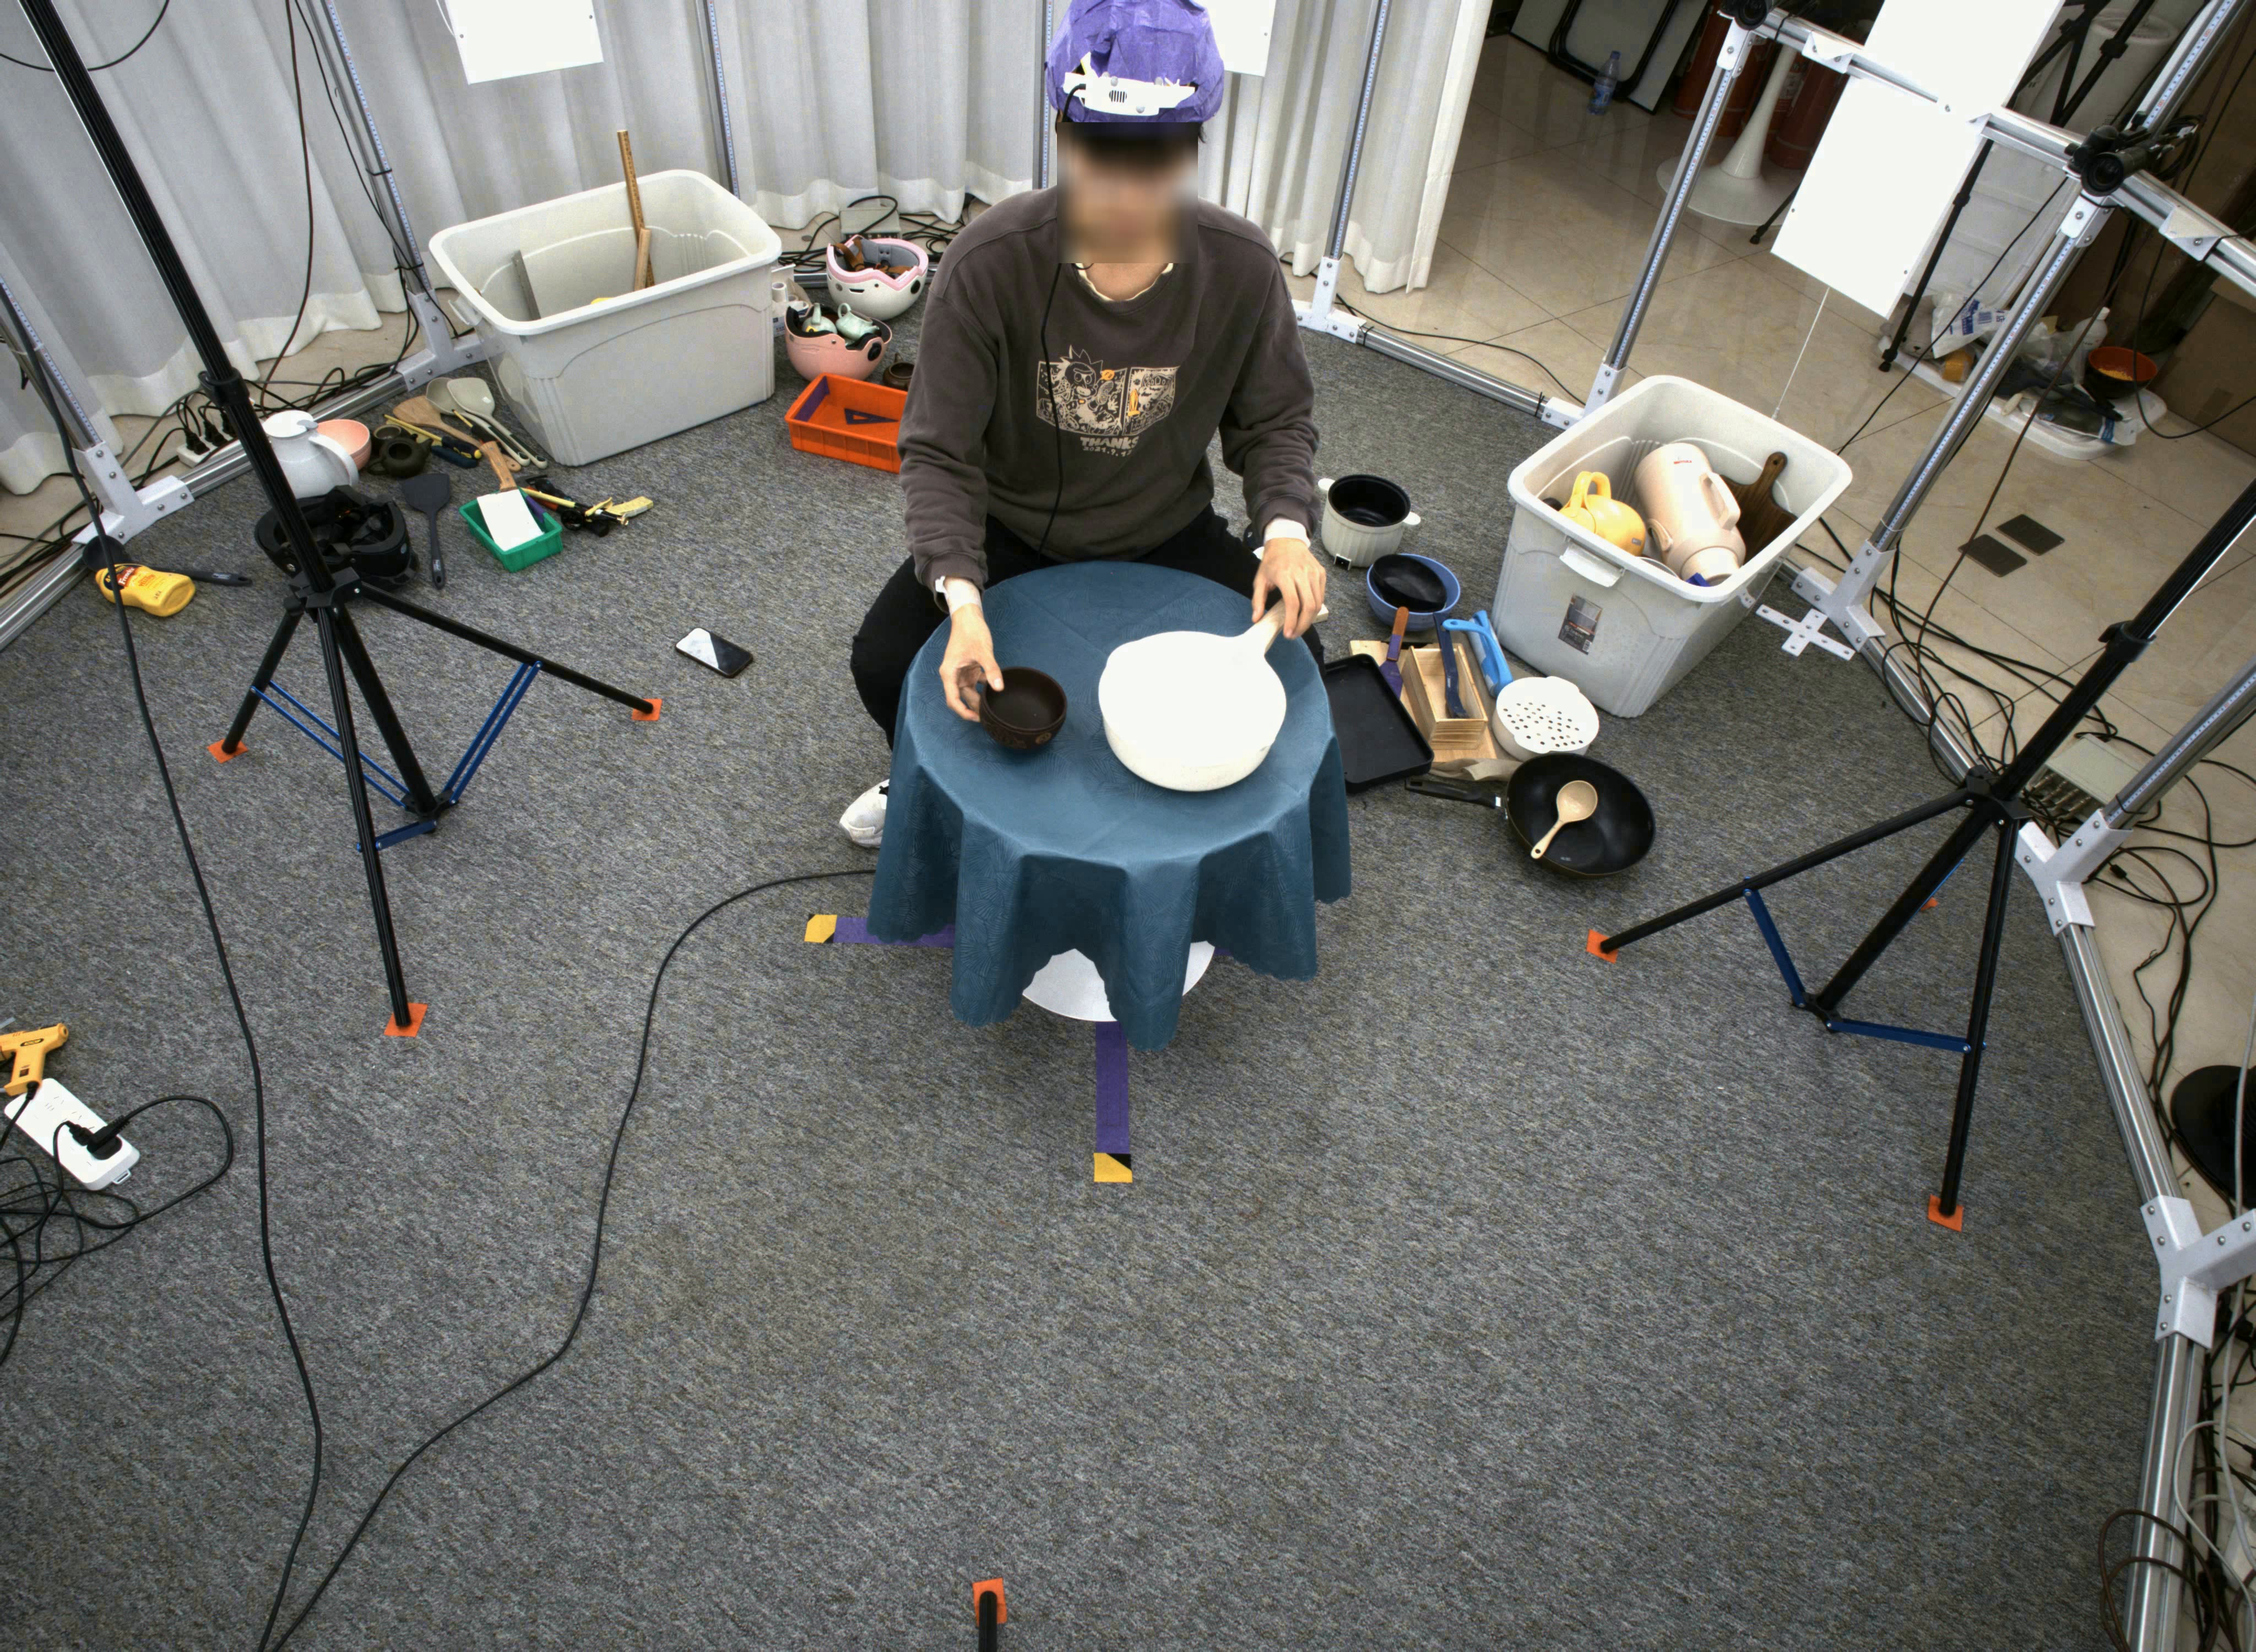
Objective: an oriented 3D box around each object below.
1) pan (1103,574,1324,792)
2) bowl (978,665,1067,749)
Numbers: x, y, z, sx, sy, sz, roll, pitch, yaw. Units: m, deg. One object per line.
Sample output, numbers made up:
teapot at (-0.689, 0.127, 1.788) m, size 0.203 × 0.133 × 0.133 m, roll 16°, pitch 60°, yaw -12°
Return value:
pan at (0.146, -0.207, 1.791) m, size 0.266 × 0.099 × 0.440 m, roll 31°, pitch 54°, yaw 24°
bowl at (-0.145, -0.152, 1.730) m, size 0.117 × 0.068 × 0.121 m, roll 7°, pitch 49°, yaw -9°
